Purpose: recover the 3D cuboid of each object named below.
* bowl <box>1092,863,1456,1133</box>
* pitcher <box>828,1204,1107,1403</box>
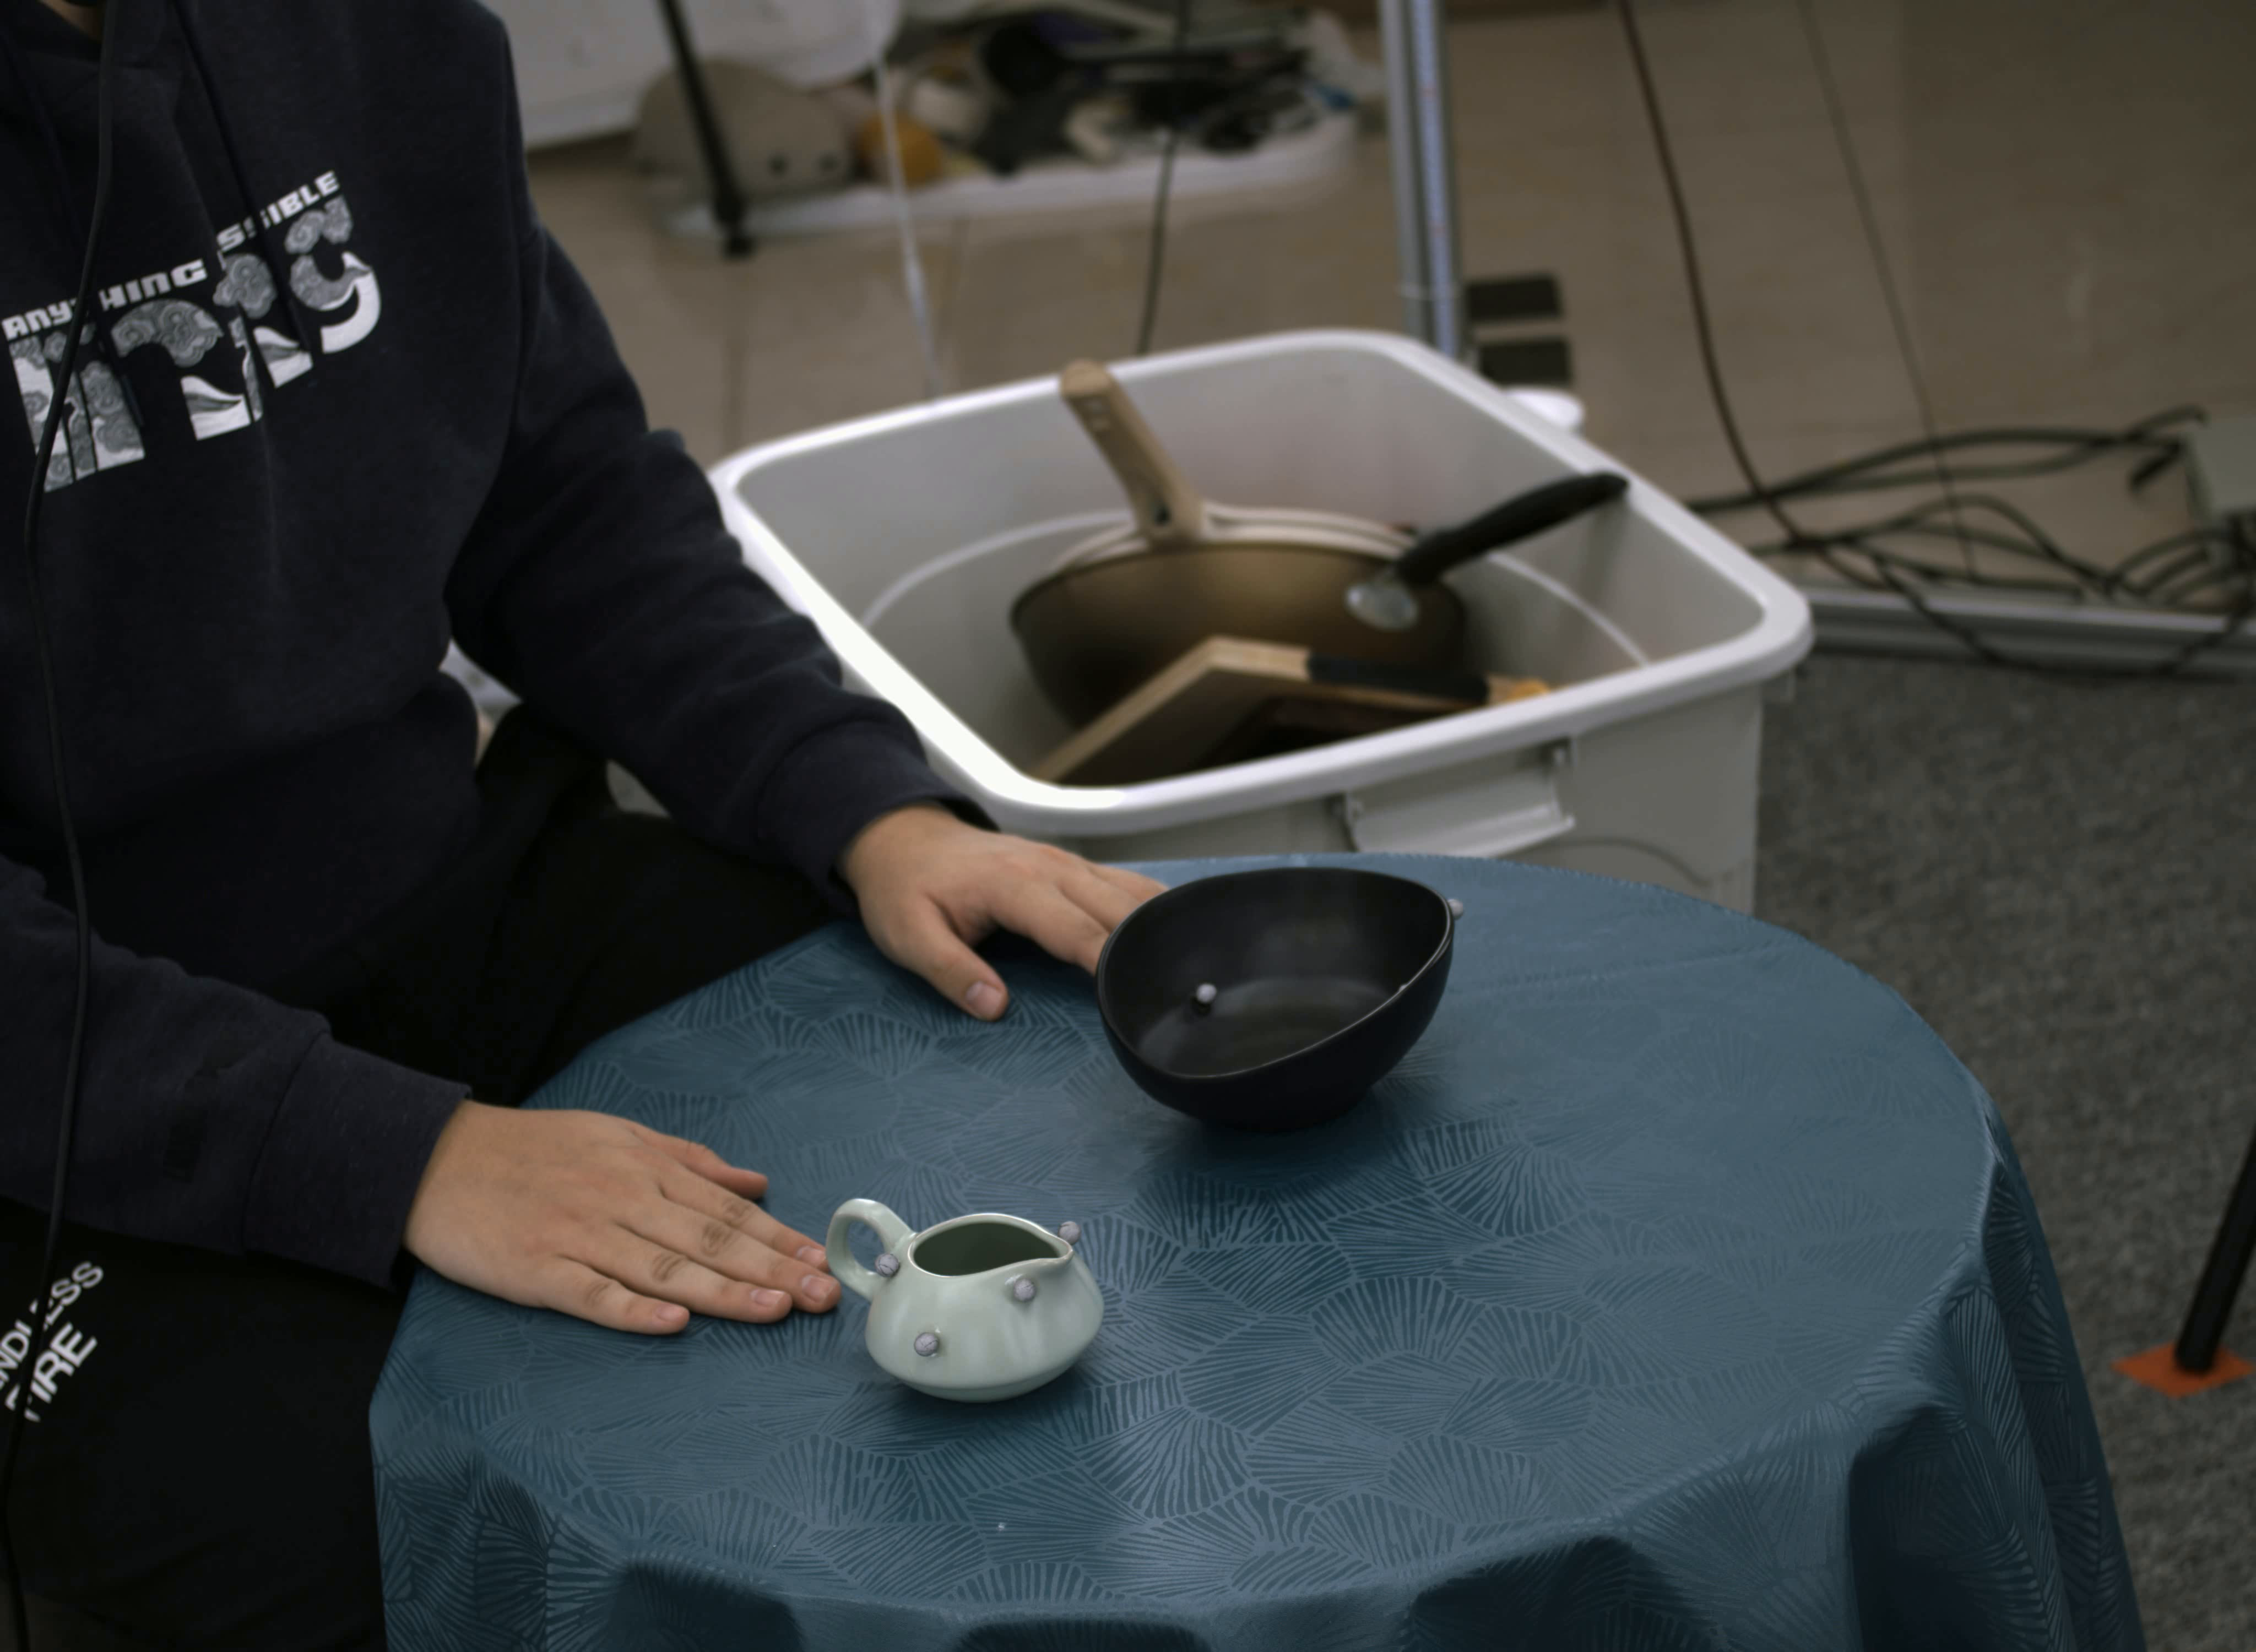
[{"bbox_3d":[0.059,0.075,2.198,0.137,0.068,0.168,3,27,21],"label":"bowl"},{"bbox_3d":[-0.061,0.169,2.031,0.107,0.061,0.085,7,27,31],"label":"pitcher"}]
